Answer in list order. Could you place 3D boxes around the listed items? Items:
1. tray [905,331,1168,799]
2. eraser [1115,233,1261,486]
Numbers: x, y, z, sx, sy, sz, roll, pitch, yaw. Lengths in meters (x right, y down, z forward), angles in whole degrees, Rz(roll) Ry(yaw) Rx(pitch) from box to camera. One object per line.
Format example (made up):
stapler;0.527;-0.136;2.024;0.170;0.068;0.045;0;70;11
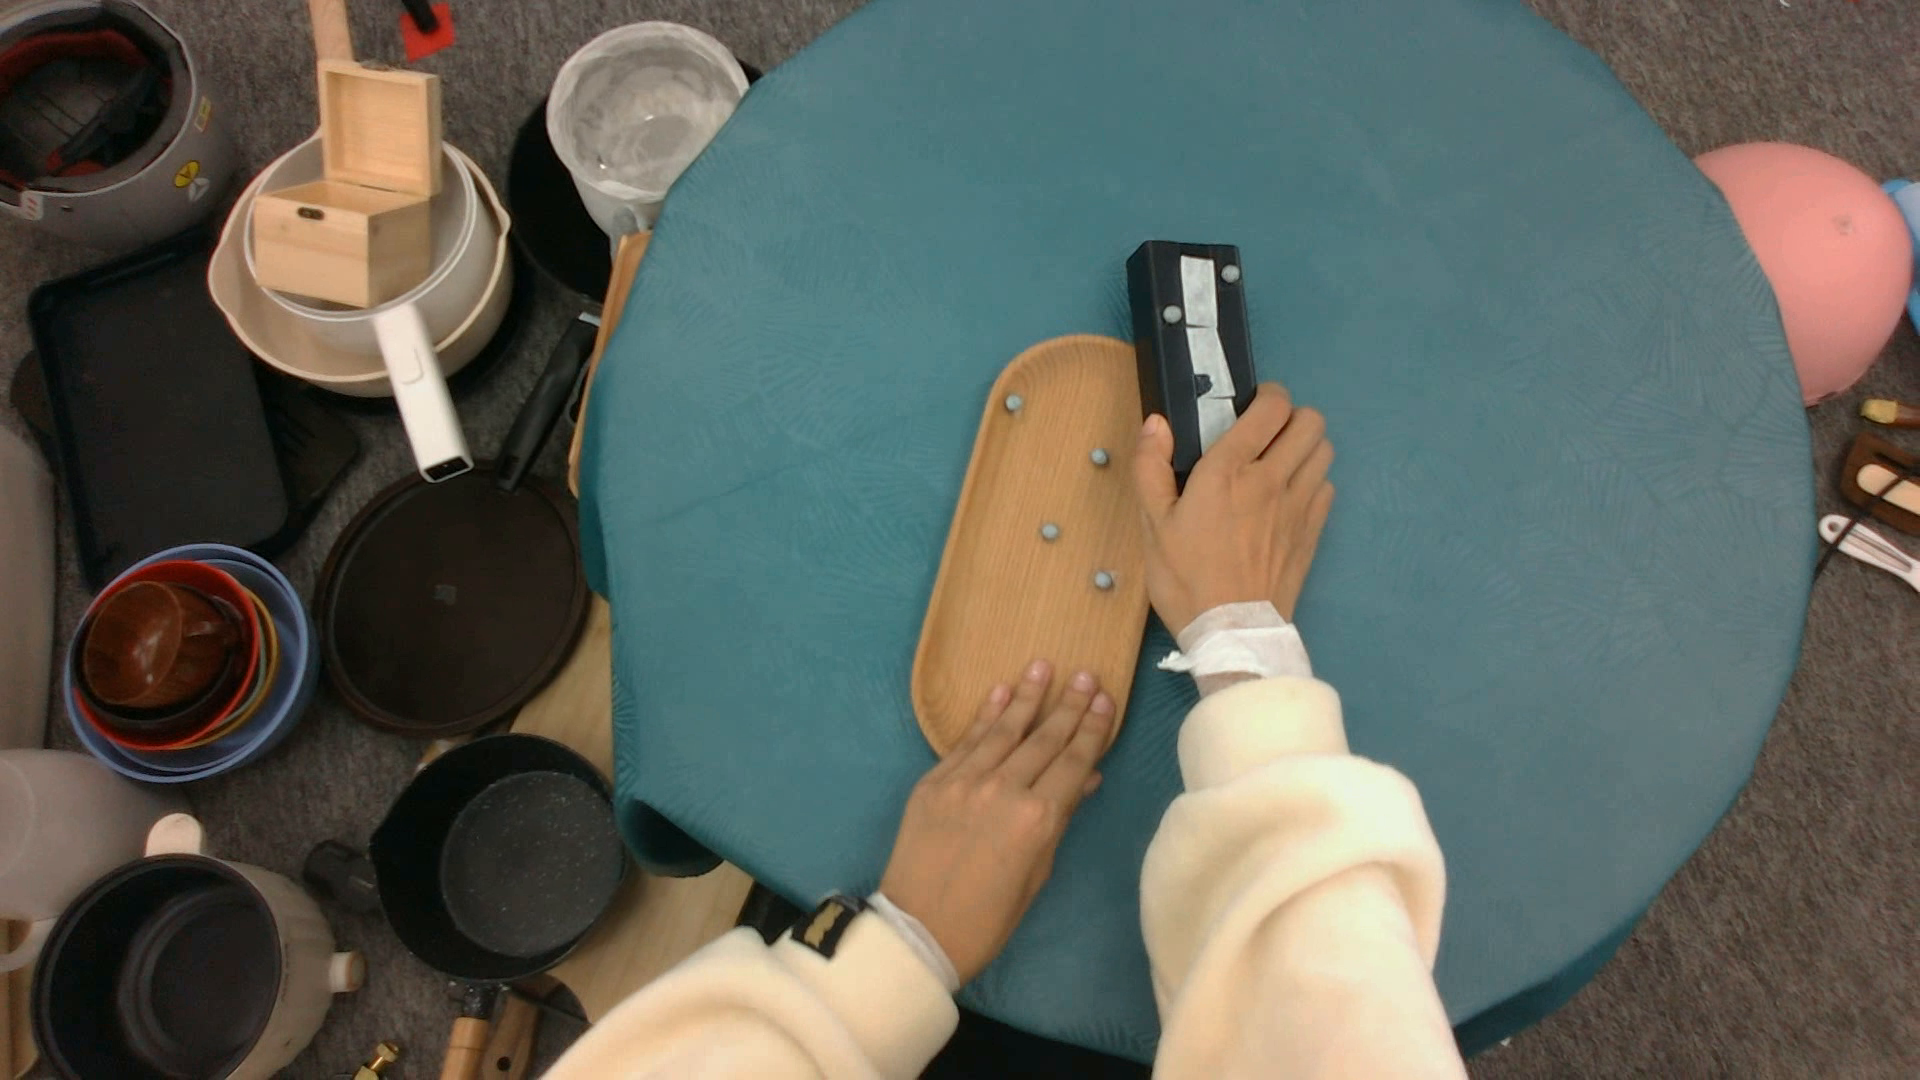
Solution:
tray;0.040;0.007;0.653;0.101;0.020;0.232;12;74;3
eraser;0.108;-0.088;0.663;0.053;0.030;0.126;-2;70;-9
